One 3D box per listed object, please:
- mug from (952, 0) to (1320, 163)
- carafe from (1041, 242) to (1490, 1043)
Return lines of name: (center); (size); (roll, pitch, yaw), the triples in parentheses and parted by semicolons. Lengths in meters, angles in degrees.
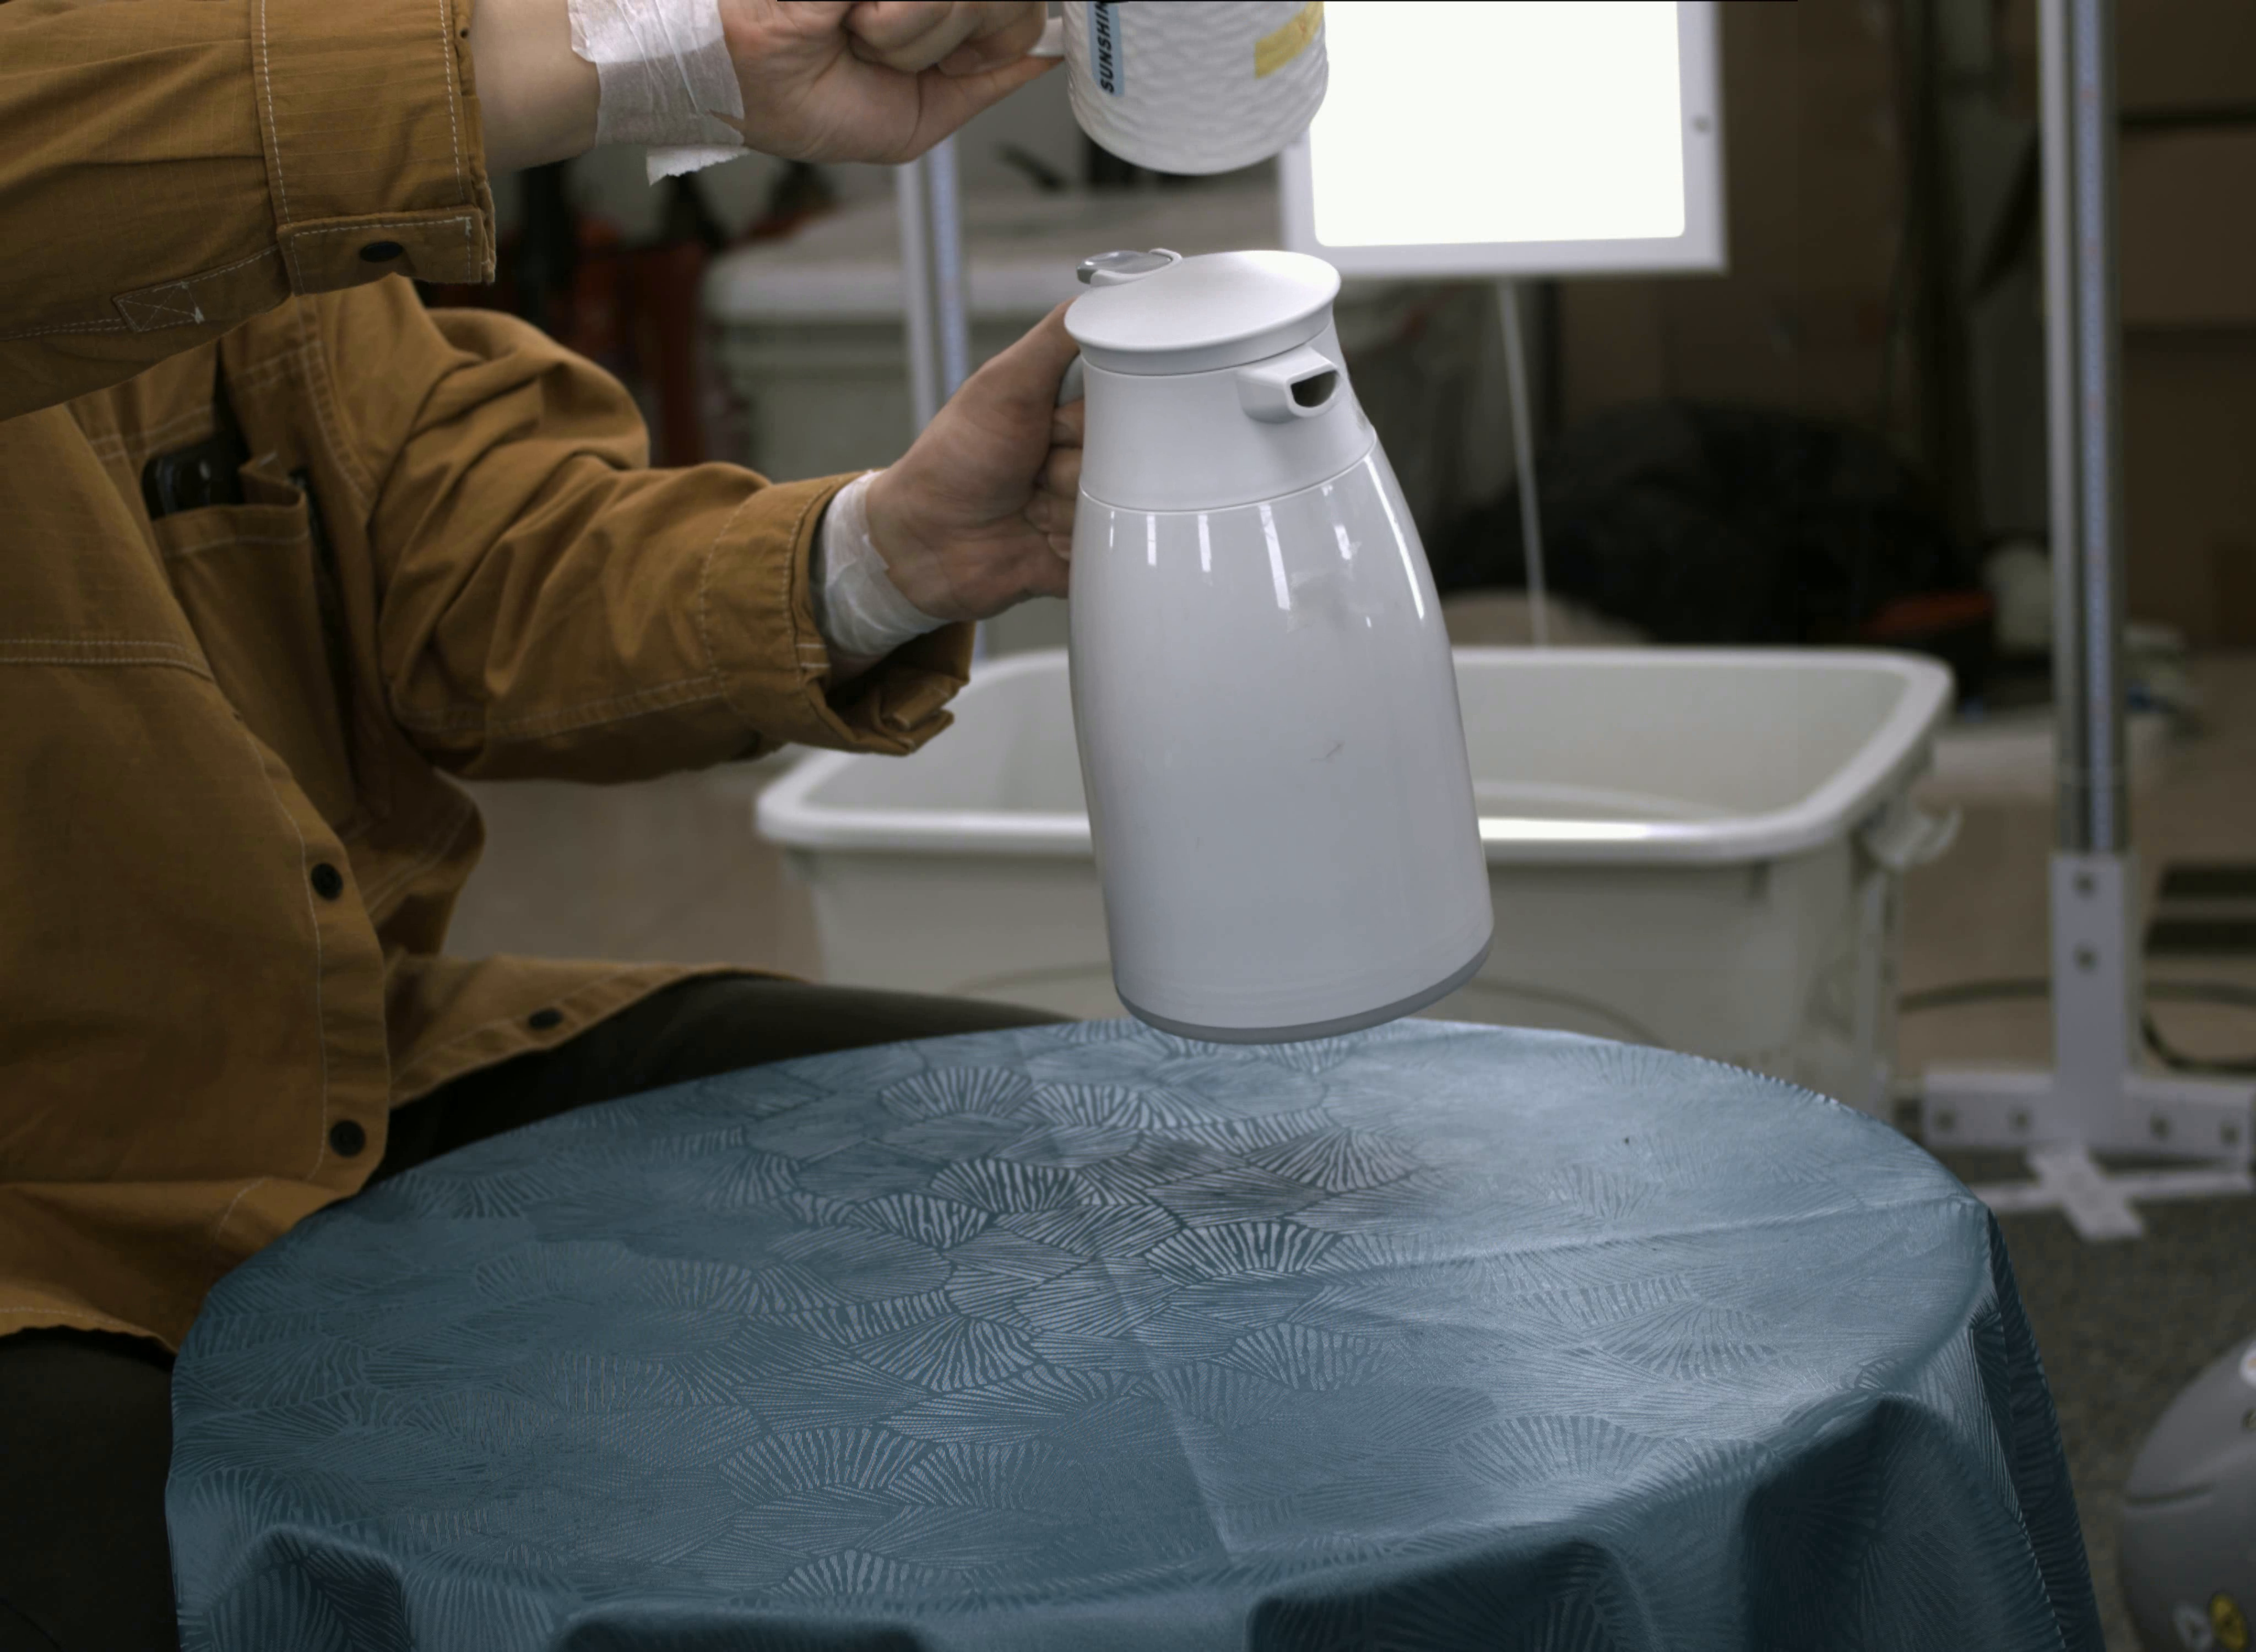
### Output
mug: (0.001, -0.278, 1.753); (0.119, 0.102, 0.084); (2, 51, 9)
carafe: (0.029, -0.072, 1.846); (0.130, 0.249, 0.171); (-23, 25, -26)
